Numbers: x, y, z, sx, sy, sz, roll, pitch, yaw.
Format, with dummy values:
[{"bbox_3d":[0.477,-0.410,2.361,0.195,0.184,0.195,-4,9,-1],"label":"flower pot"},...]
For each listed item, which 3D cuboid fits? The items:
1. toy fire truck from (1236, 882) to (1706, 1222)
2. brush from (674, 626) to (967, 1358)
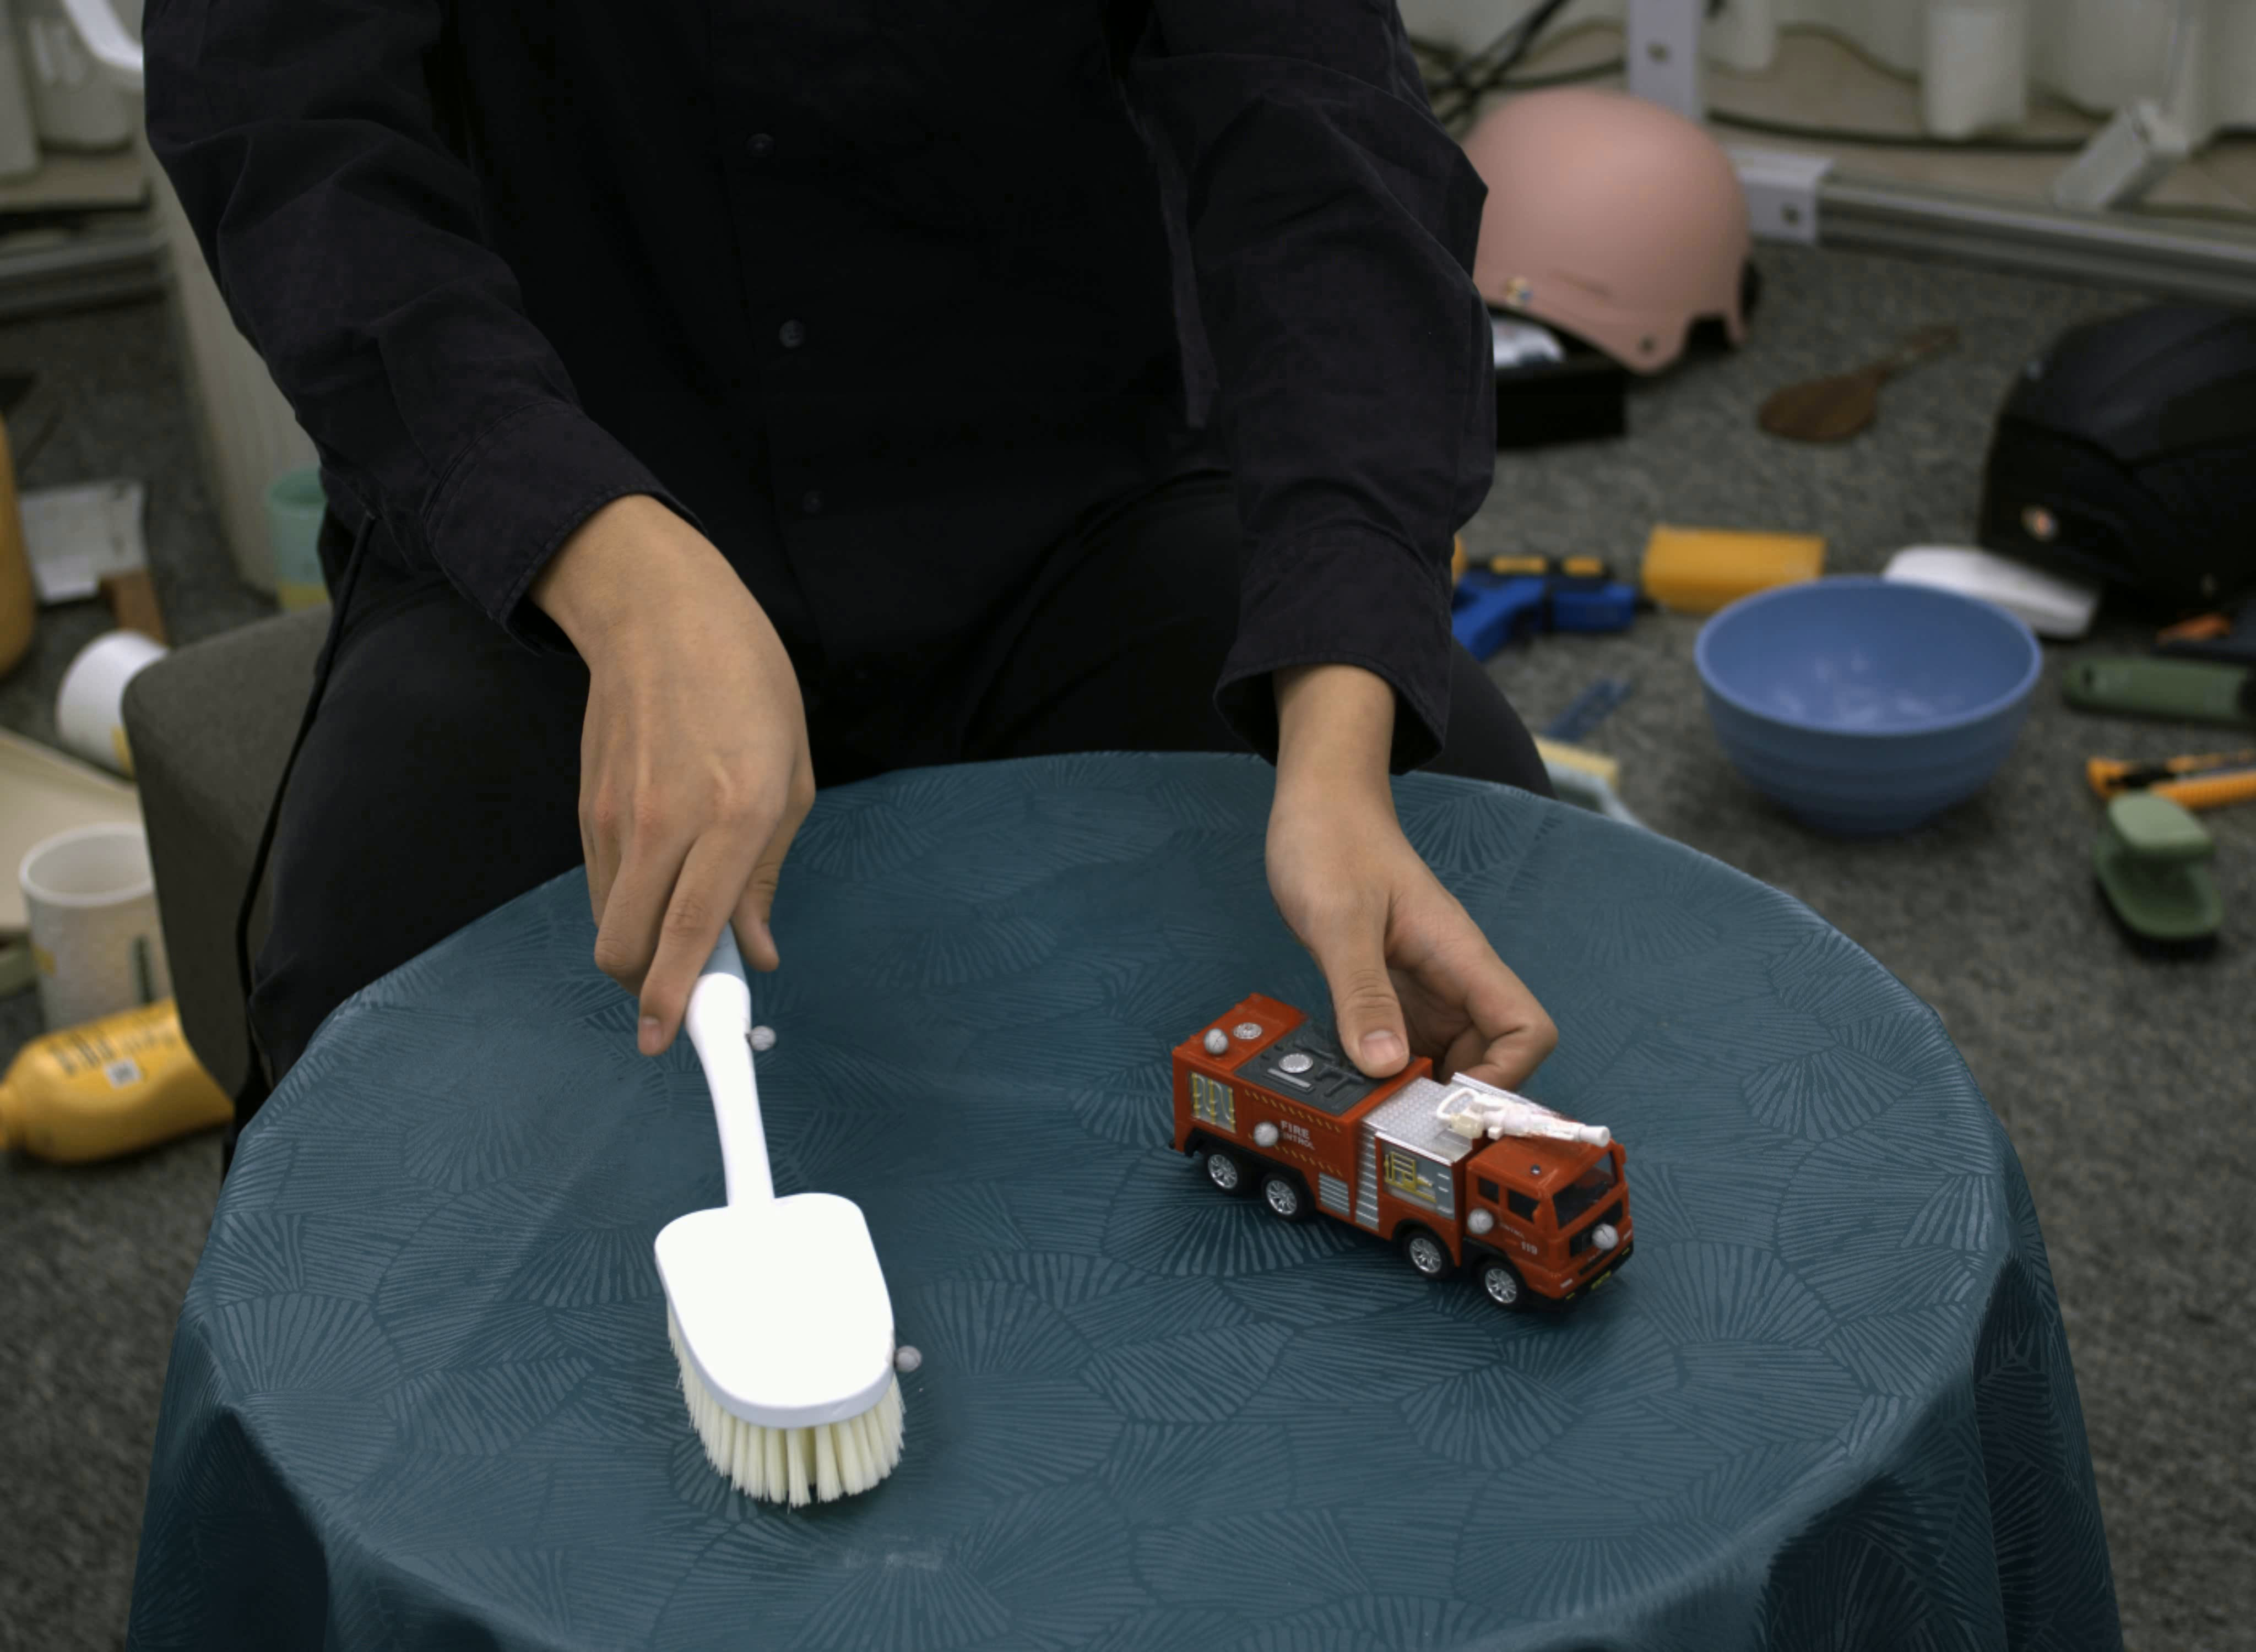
[{"bbox_3d":[0.110,0.071,1.826,0.167,0.069,0.055,18,37,36],"label":"toy fire truck"},{"bbox_3d":[-0.105,0.061,1.842,0.083,0.083,0.330,24,29,-31],"label":"brush"}]
